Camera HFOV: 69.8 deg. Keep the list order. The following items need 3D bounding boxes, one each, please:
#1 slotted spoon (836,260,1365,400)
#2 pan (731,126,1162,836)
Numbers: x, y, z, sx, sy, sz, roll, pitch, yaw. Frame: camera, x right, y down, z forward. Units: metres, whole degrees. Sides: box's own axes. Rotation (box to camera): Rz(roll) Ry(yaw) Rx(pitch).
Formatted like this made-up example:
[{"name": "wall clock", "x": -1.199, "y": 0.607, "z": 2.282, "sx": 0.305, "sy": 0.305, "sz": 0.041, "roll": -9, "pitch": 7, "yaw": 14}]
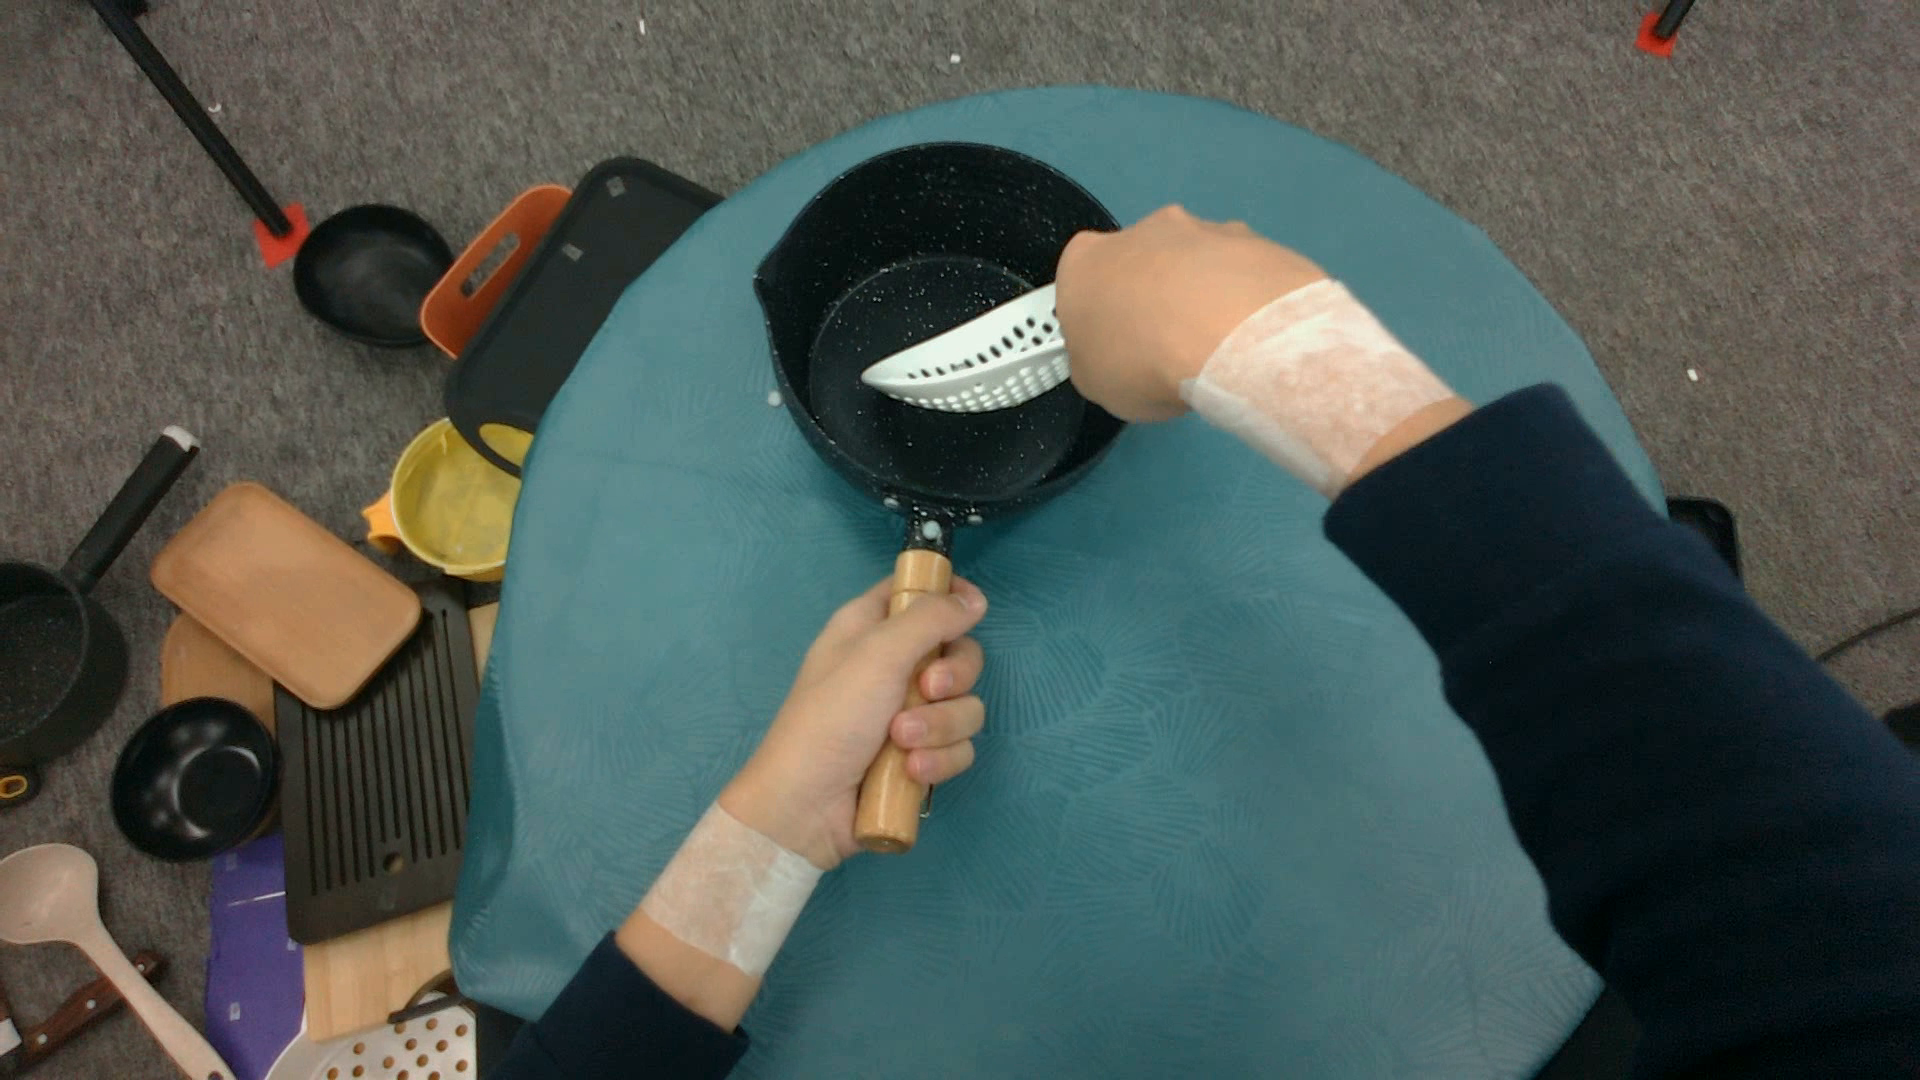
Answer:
[{"name": "slotted spoon", "x": 0.047, "y": -0.085, "z": 0.572, "sx": 0.137, "sy": 0.347, "sz": 0.050, "roll": -25, "pitch": 102, "yaw": -15}, {"name": "pan", "x": -0.018, "y": -0.029, "z": 0.649, "sx": 0.207, "sy": 0.108, "sz": 0.344, "roll": 9, "pitch": 71, "yaw": -6}]
